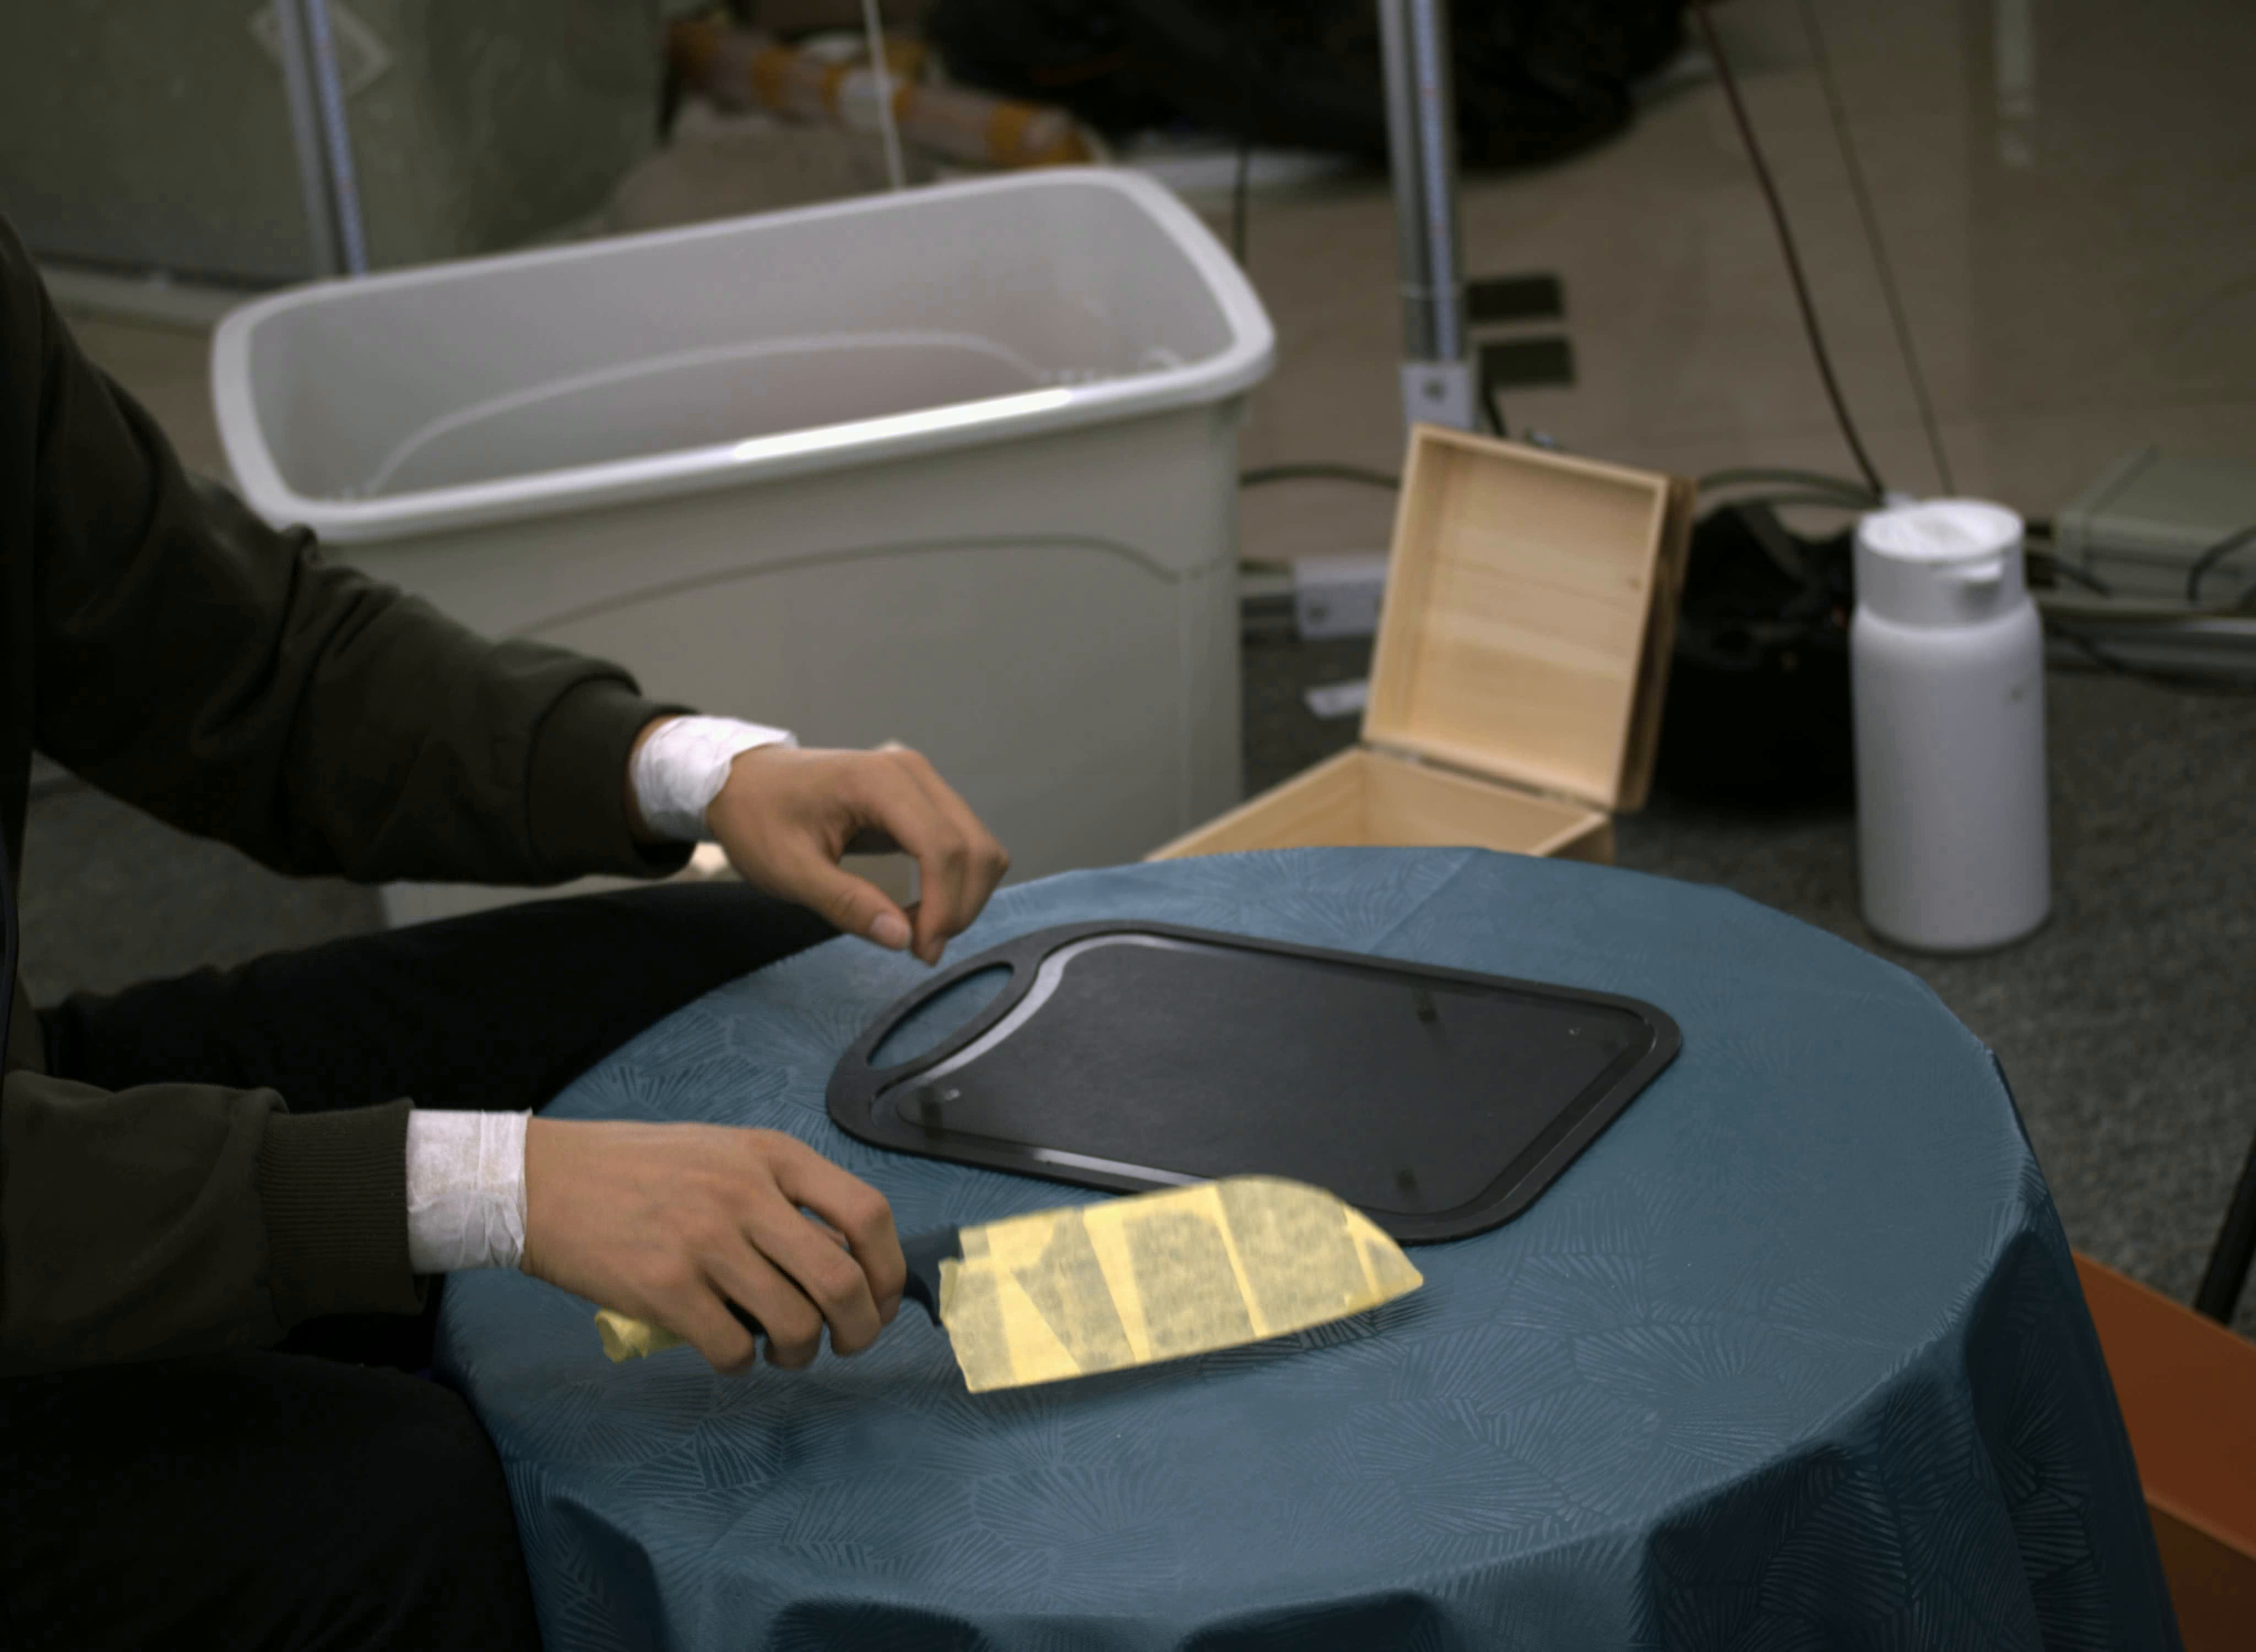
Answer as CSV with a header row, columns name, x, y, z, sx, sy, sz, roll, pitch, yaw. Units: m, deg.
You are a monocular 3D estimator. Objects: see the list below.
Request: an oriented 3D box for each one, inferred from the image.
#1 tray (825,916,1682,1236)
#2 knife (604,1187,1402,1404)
name,x,y,z,sx,sy,sz,roll,pitch,yaw
tray,0.041,0.093,2.231,0.324,0.010,0.208,9,29,30
knife,-0.042,0.174,2.027,0.289,0.028,0.079,-9,45,-9
